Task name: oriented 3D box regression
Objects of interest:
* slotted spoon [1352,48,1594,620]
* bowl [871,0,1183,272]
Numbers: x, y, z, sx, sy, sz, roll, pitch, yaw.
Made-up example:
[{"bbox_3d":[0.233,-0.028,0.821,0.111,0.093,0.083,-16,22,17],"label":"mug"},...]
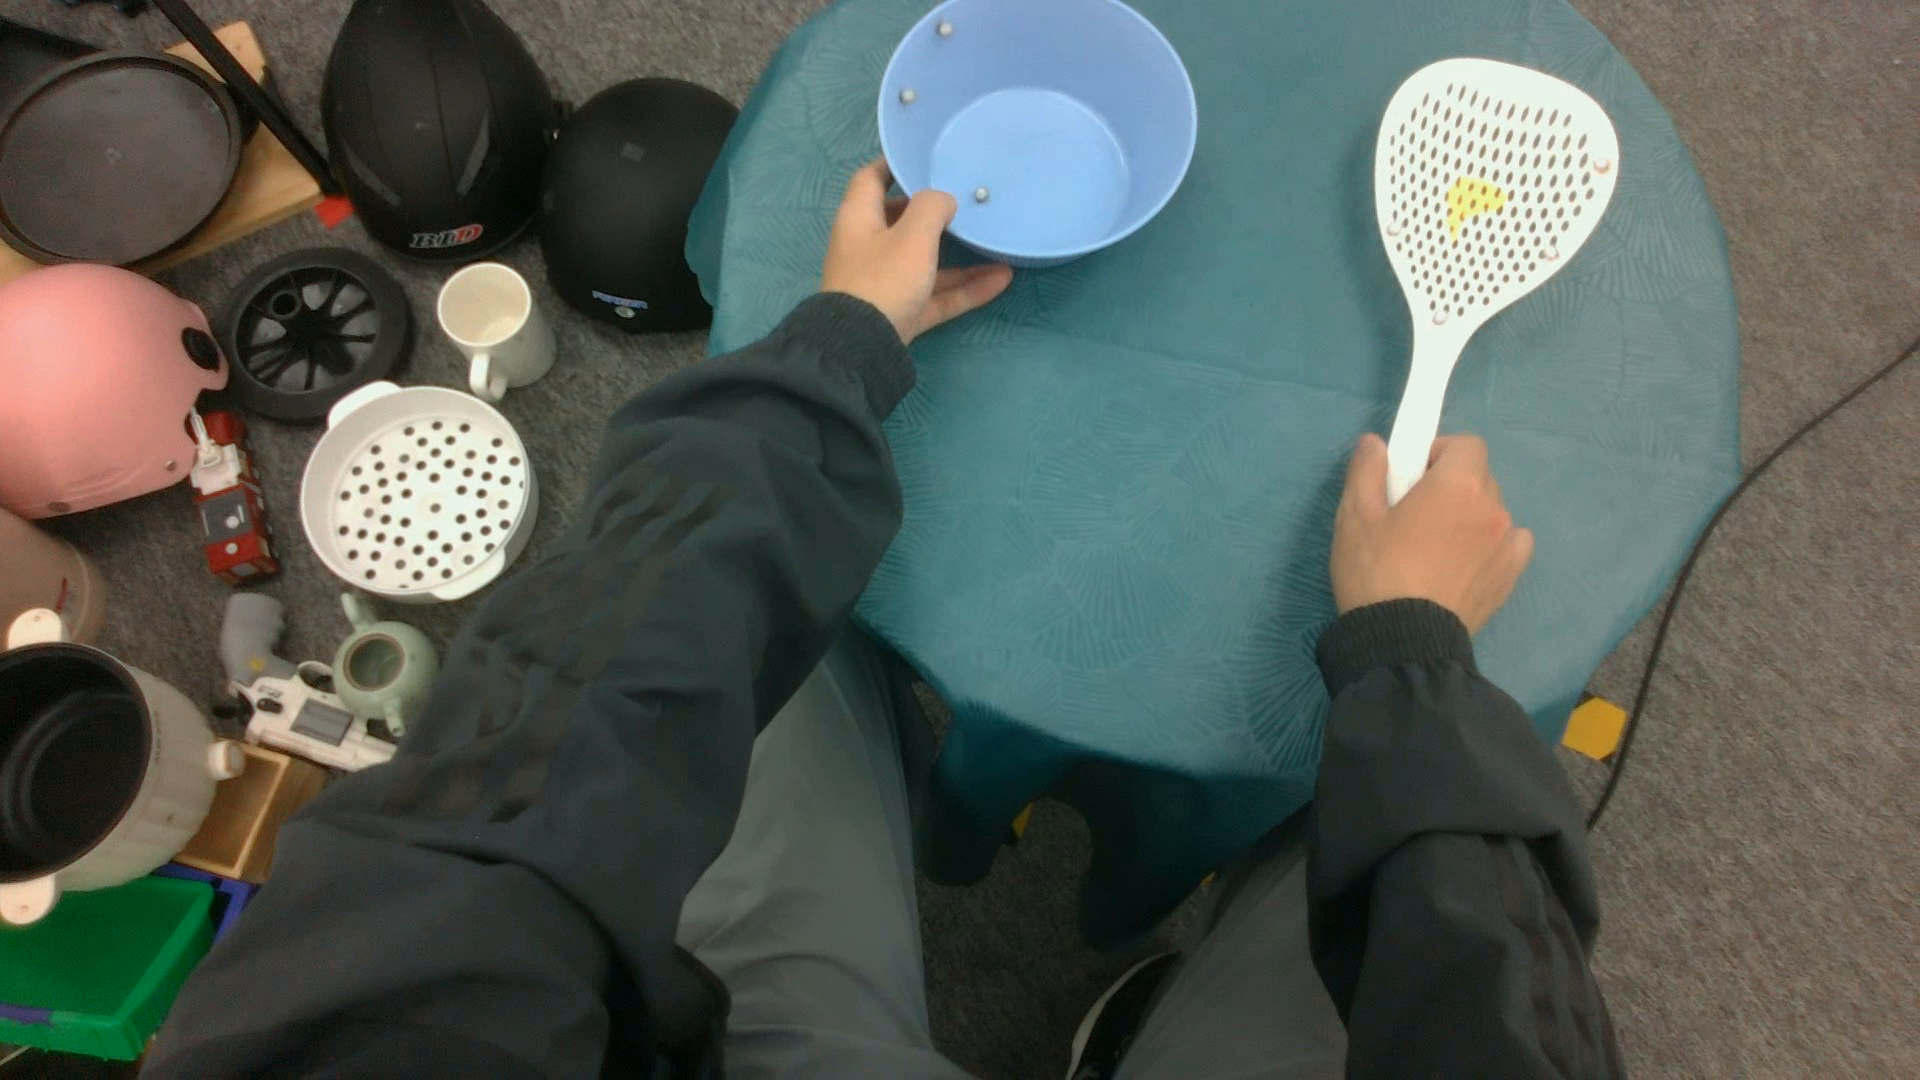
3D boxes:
[{"bbox_3d":[0.269,-0.124,0.788,0.137,0.050,0.349,15,72,8],"label":"slotted spoon"},{"bbox_3d":[0.037,-0.224,0.802,0.176,0.070,0.176,0,72,-1],"label":"bowl"}]
